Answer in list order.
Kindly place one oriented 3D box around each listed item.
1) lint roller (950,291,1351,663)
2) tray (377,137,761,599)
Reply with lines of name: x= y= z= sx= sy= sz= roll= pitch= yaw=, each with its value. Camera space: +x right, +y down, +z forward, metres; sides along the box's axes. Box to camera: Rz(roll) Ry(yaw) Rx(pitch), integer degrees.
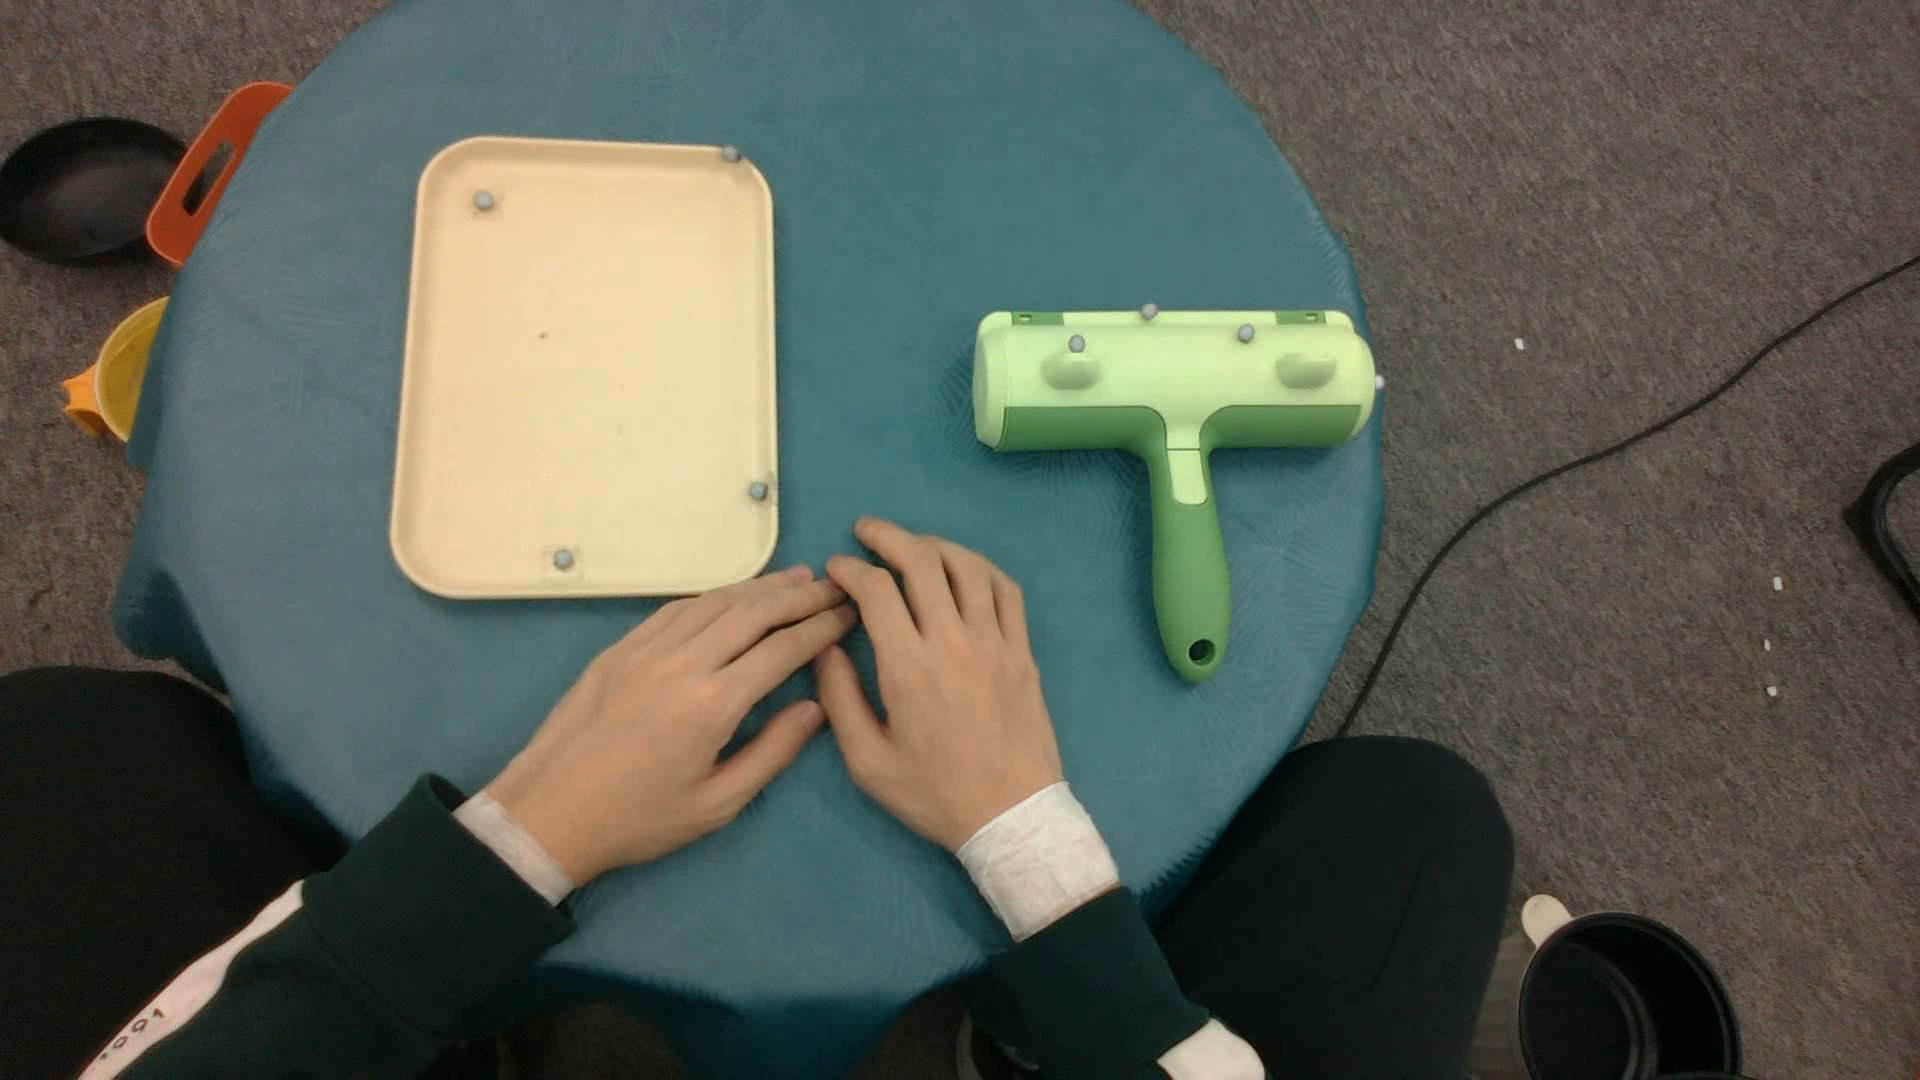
lint roller: x=0.102 y=-0.038 z=0.658 sx=0.199 sy=0.082 sz=0.184 roll=-2 pitch=67 yaw=-10
tray: x=-0.186 y=-0.088 z=0.661 sx=0.171 sy=0.017 sz=0.240 roll=-3 pitch=71 yaw=-9
